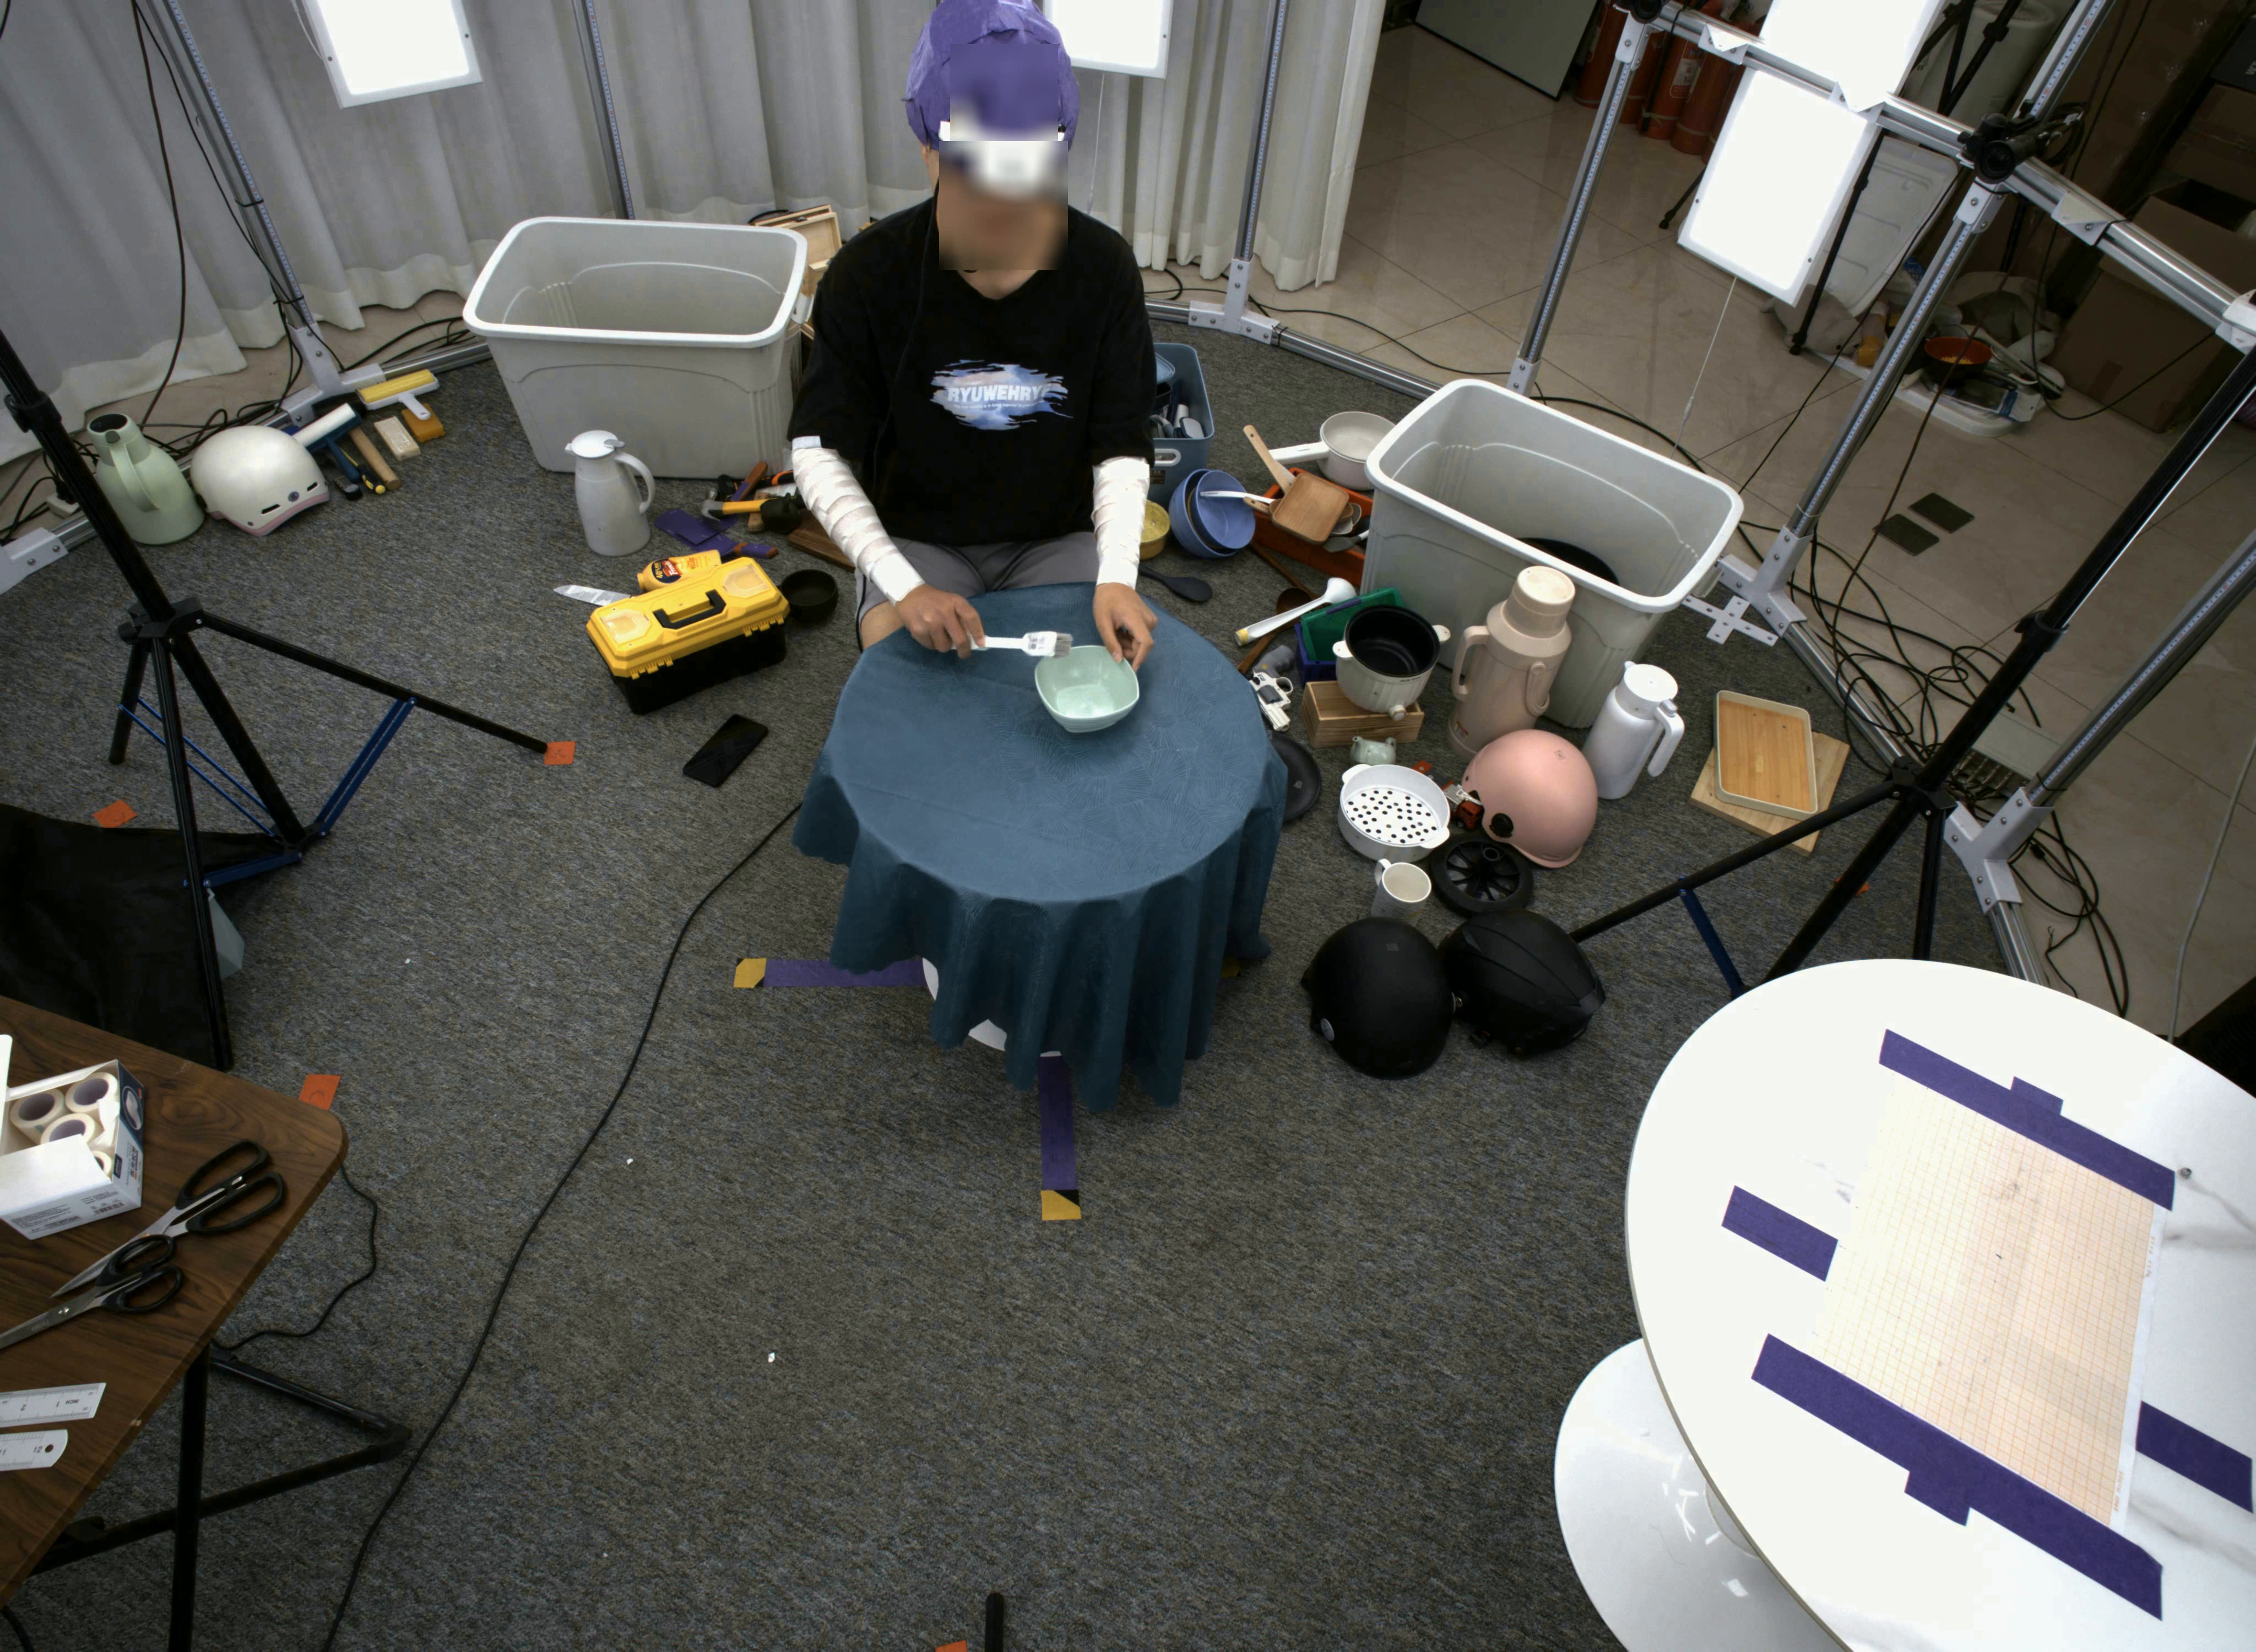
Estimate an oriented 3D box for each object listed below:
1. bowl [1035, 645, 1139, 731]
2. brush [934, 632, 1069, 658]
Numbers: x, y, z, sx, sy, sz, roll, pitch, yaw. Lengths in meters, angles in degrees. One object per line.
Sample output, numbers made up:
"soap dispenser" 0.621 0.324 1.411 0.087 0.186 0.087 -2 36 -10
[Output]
"bowl" -0.059 -0.183 1.791 0.151 0.057 0.155 3 50 -4
"brush" -0.177 -0.254 1.810 0.245 0.034 0.050 5 7 40
